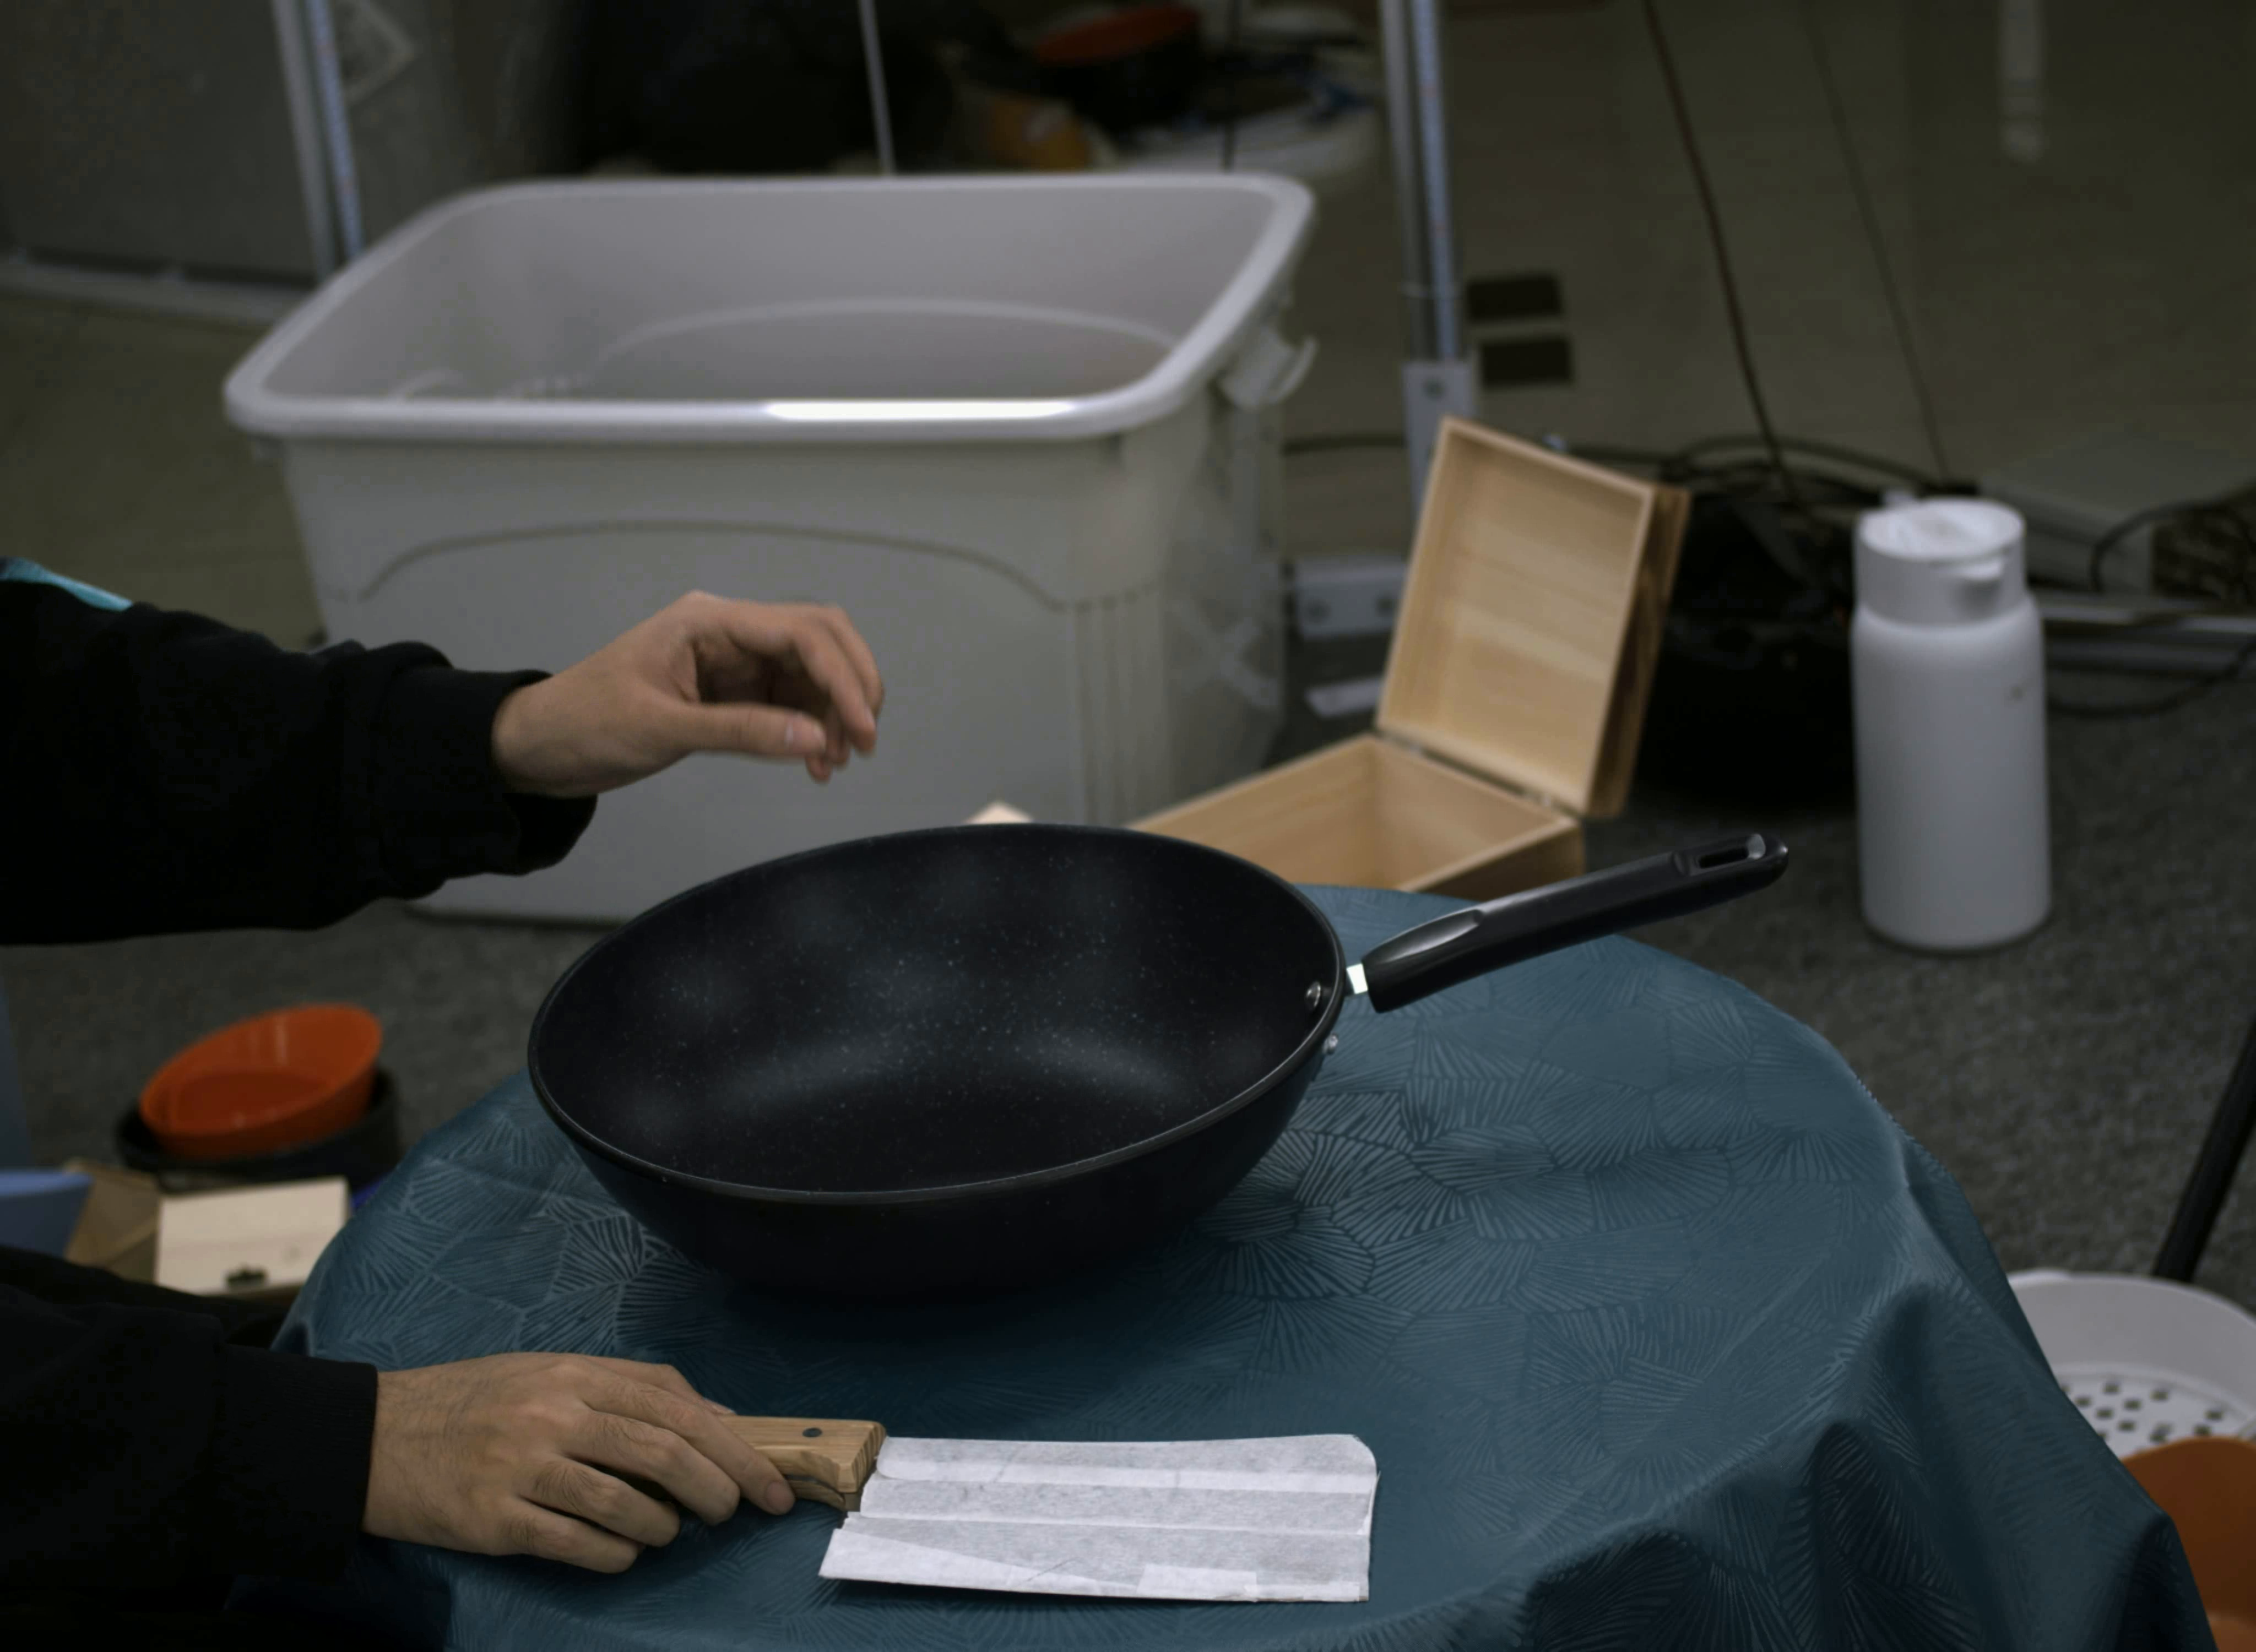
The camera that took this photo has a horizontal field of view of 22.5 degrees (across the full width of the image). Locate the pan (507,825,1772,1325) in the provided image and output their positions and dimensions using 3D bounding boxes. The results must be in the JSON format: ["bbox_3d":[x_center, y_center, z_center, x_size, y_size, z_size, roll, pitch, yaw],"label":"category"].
[{"bbox_3d":[0.007,0.086,2.132,0.476,0.113,0.305,-6,27,1],"label":"pan"}]

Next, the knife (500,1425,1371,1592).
[{"bbox_3d":[-0.065,0.229,1.949,0.314,0.022,0.112,2,27,13],"label":"knife"}]
